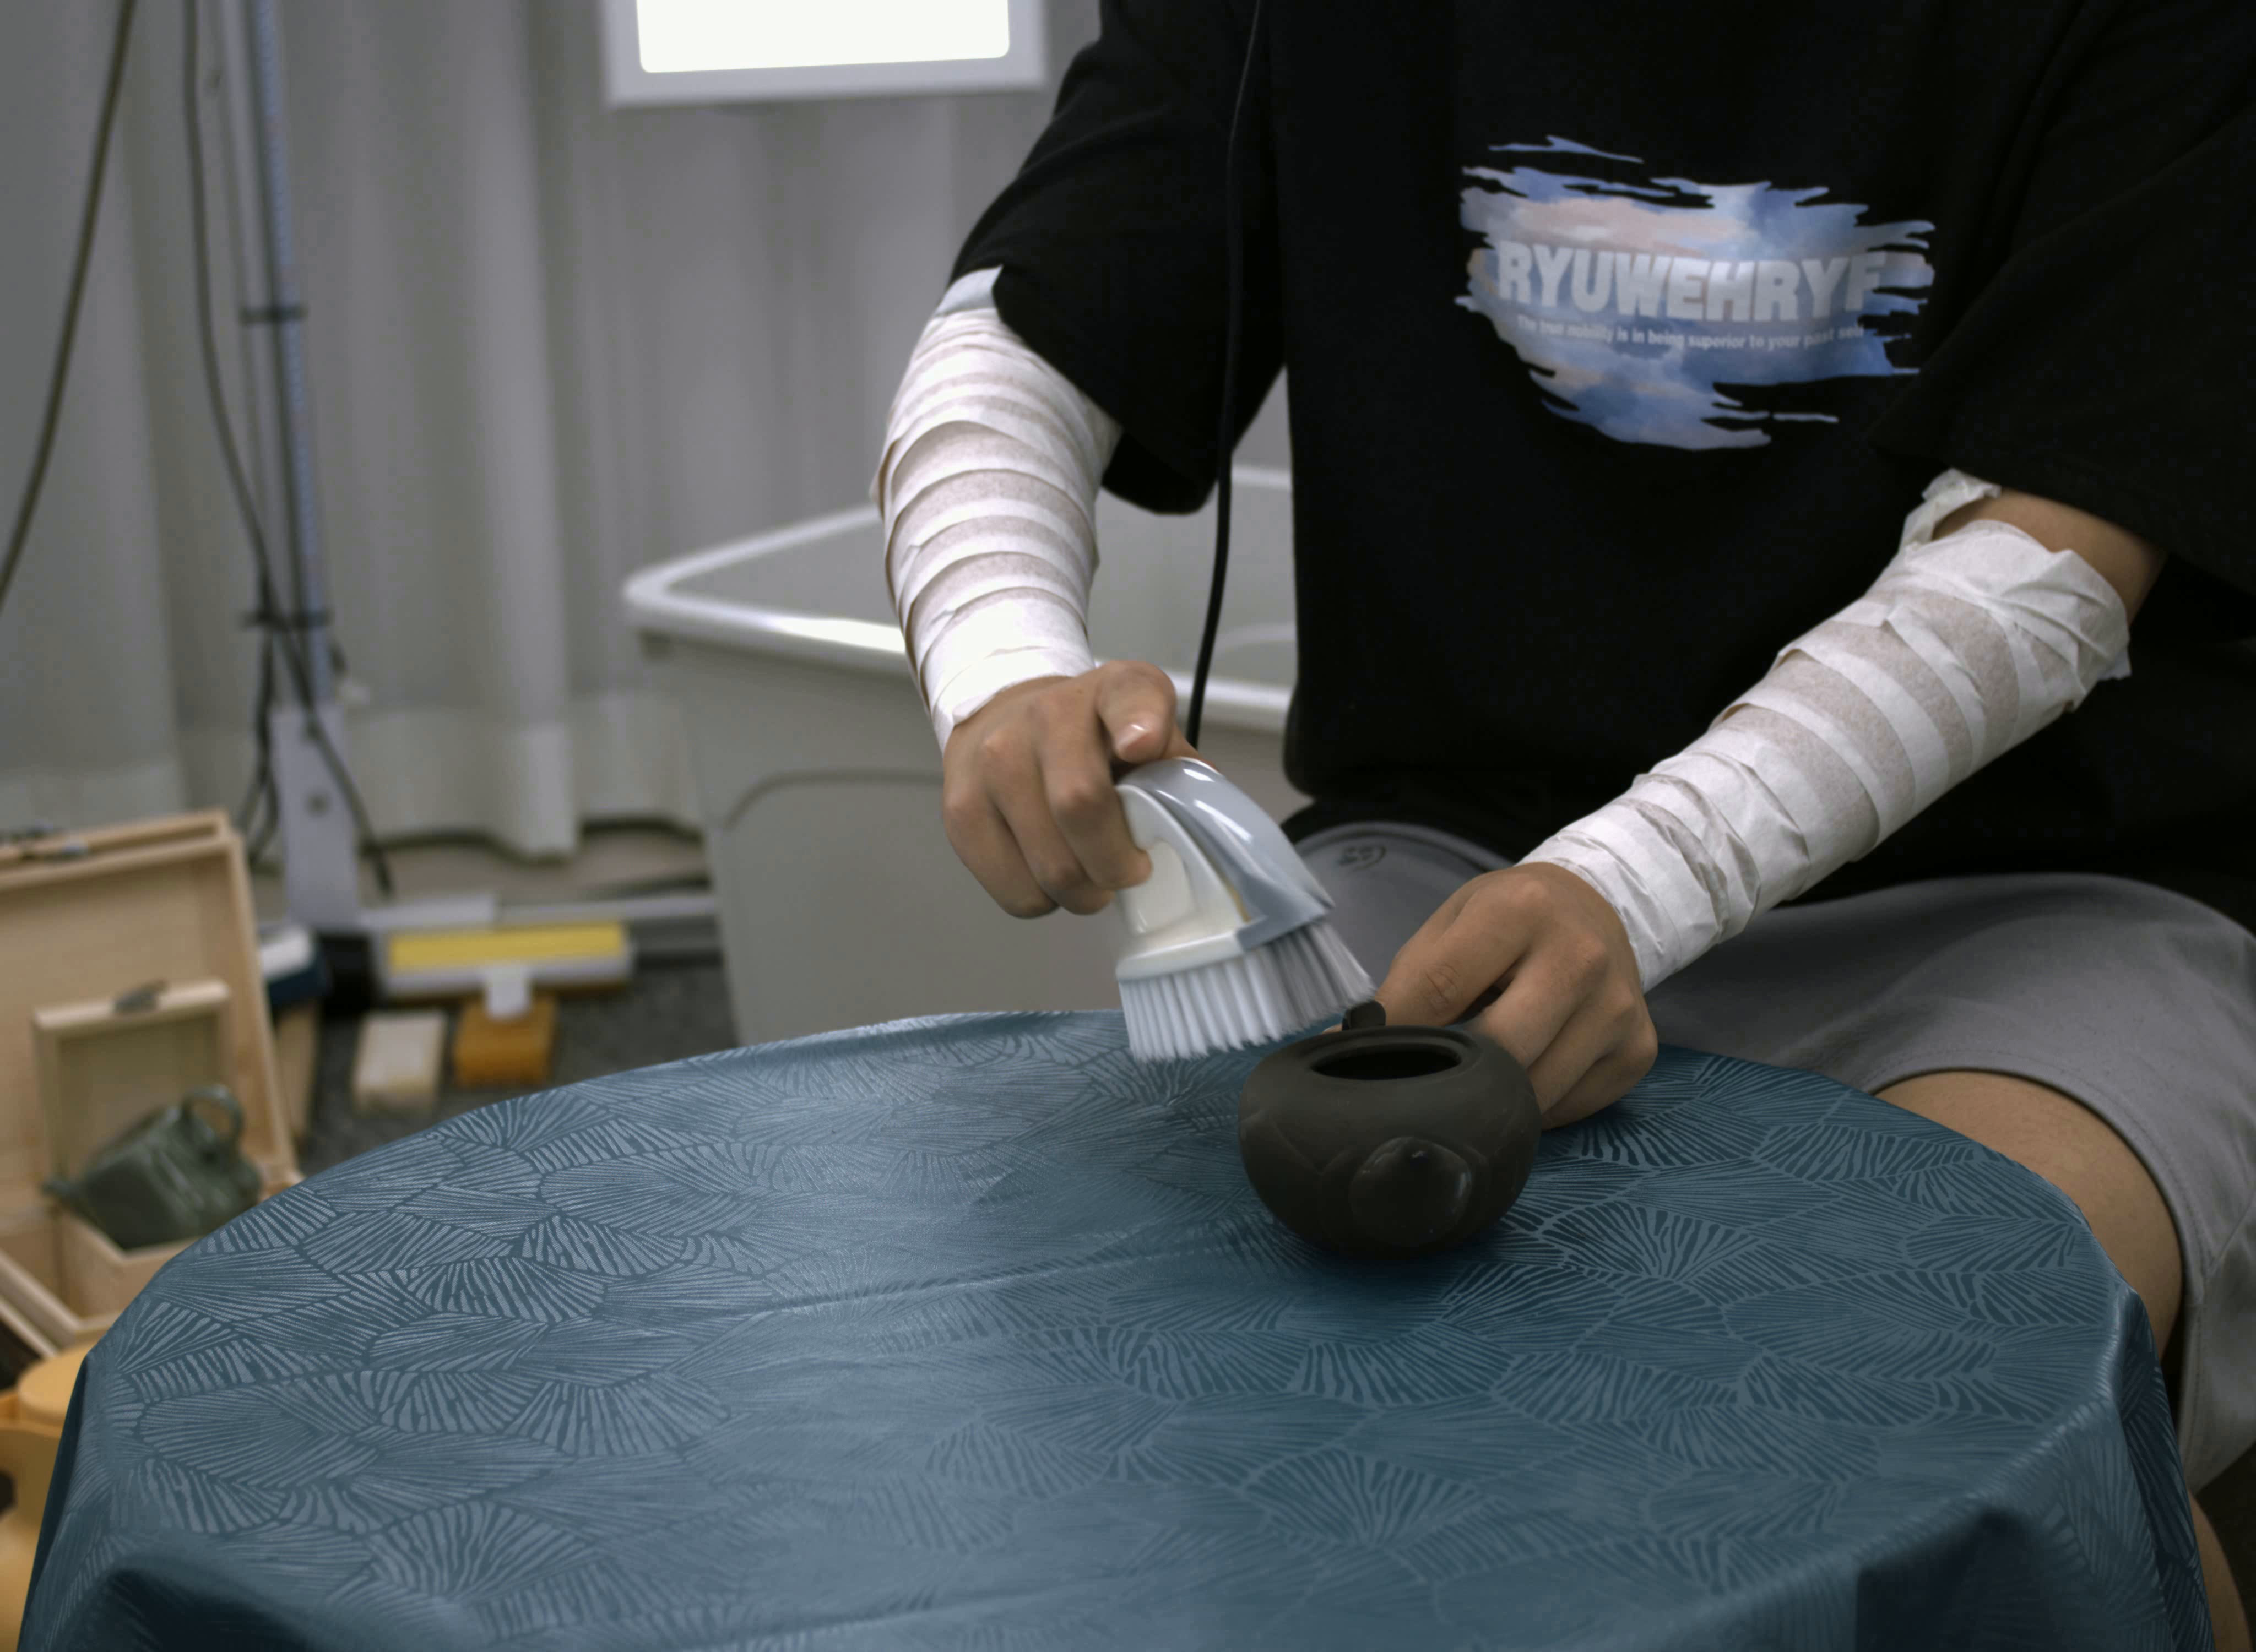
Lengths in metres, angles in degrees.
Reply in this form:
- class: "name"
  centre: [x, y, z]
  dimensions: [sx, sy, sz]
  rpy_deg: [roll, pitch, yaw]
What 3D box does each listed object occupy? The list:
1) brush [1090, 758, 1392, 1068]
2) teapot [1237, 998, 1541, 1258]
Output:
- class: "brush"
  centre: [0.032, 0.021, 1.705]
  dimensions: [0.061, 0.094, 0.175]
  rpy_deg: [-28, 5, -16]
- class: "teapot"
  centre: [0.078, 0.092, 1.657]
  dimensions: [0.092, 0.064, 0.155]
  rpy_deg: [-4, 16, -3]
